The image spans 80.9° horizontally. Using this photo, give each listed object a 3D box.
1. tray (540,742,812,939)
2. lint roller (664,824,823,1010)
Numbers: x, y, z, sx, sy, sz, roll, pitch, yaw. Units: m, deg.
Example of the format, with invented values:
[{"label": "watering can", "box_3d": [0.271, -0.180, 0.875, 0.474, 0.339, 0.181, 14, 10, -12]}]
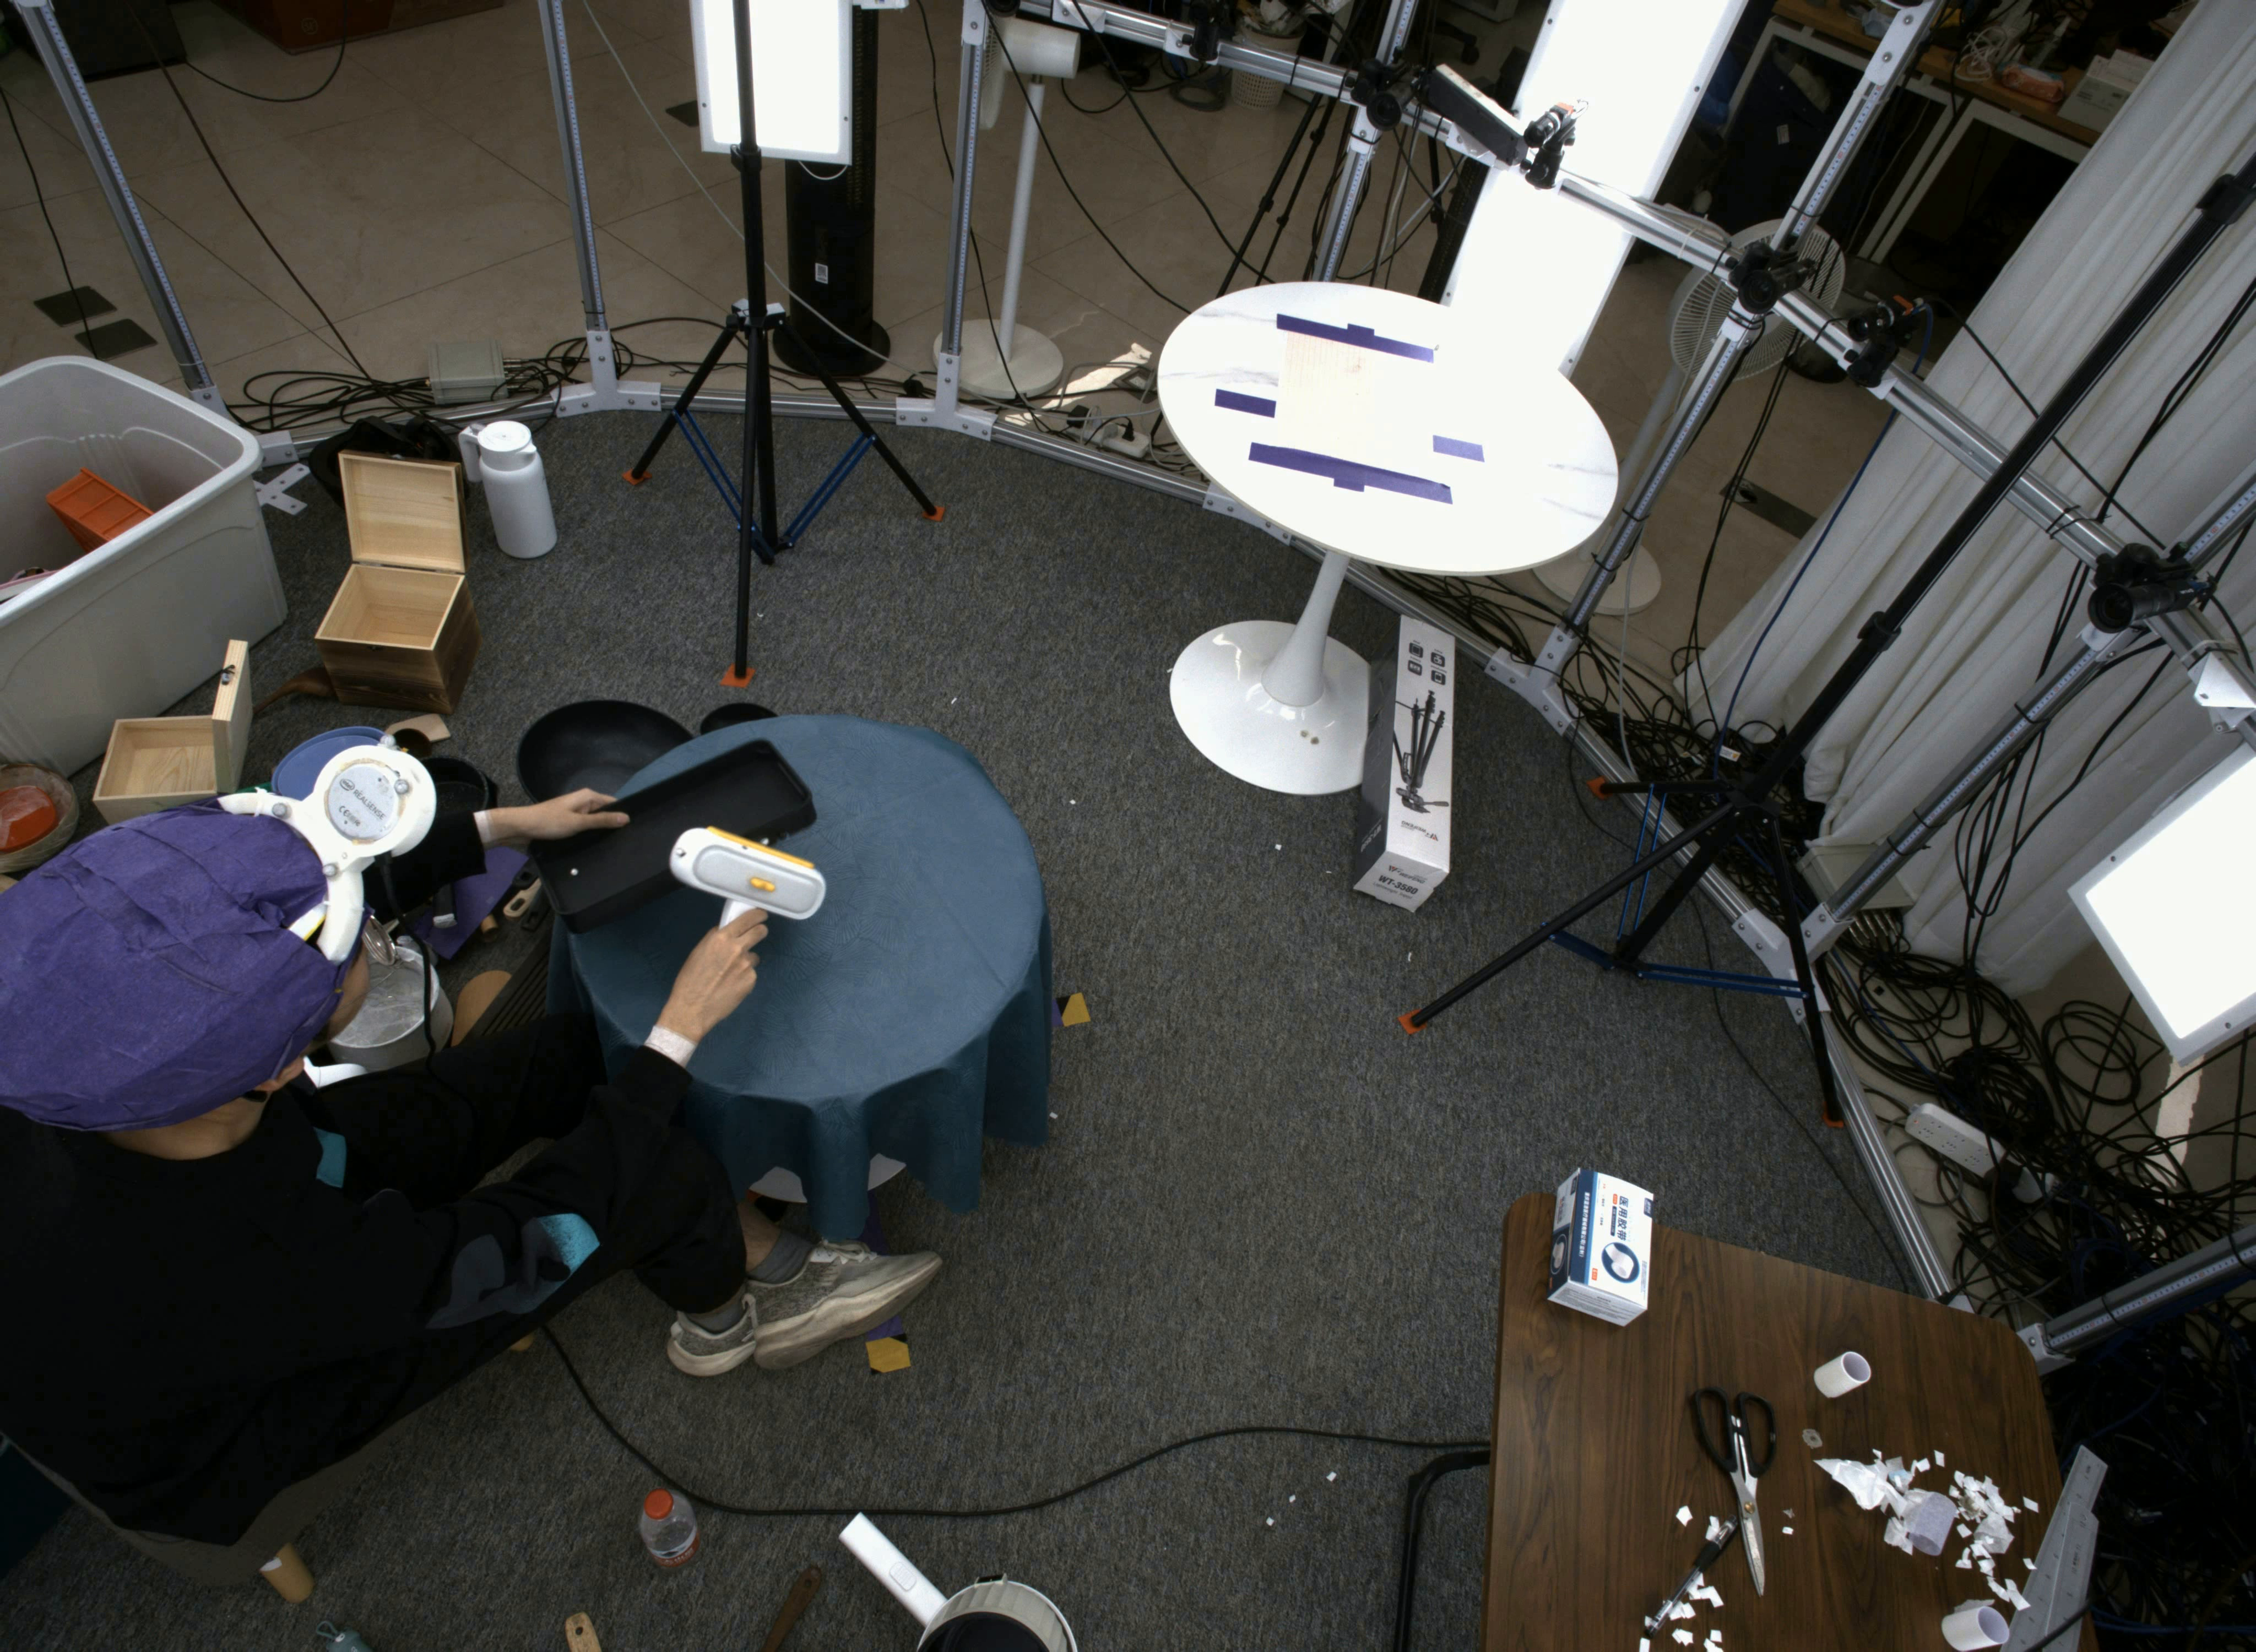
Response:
[{"label": "tray", "box_3d": [-0.547, 0.009, 1.532, 0.318, 0.038, 0.177, -28, 42, -23]}, {"label": "lint roller", "box_3d": [-0.448, 0.108, 1.476, 0.071, 0.198, 0.194, 15, 87, 40]}]
